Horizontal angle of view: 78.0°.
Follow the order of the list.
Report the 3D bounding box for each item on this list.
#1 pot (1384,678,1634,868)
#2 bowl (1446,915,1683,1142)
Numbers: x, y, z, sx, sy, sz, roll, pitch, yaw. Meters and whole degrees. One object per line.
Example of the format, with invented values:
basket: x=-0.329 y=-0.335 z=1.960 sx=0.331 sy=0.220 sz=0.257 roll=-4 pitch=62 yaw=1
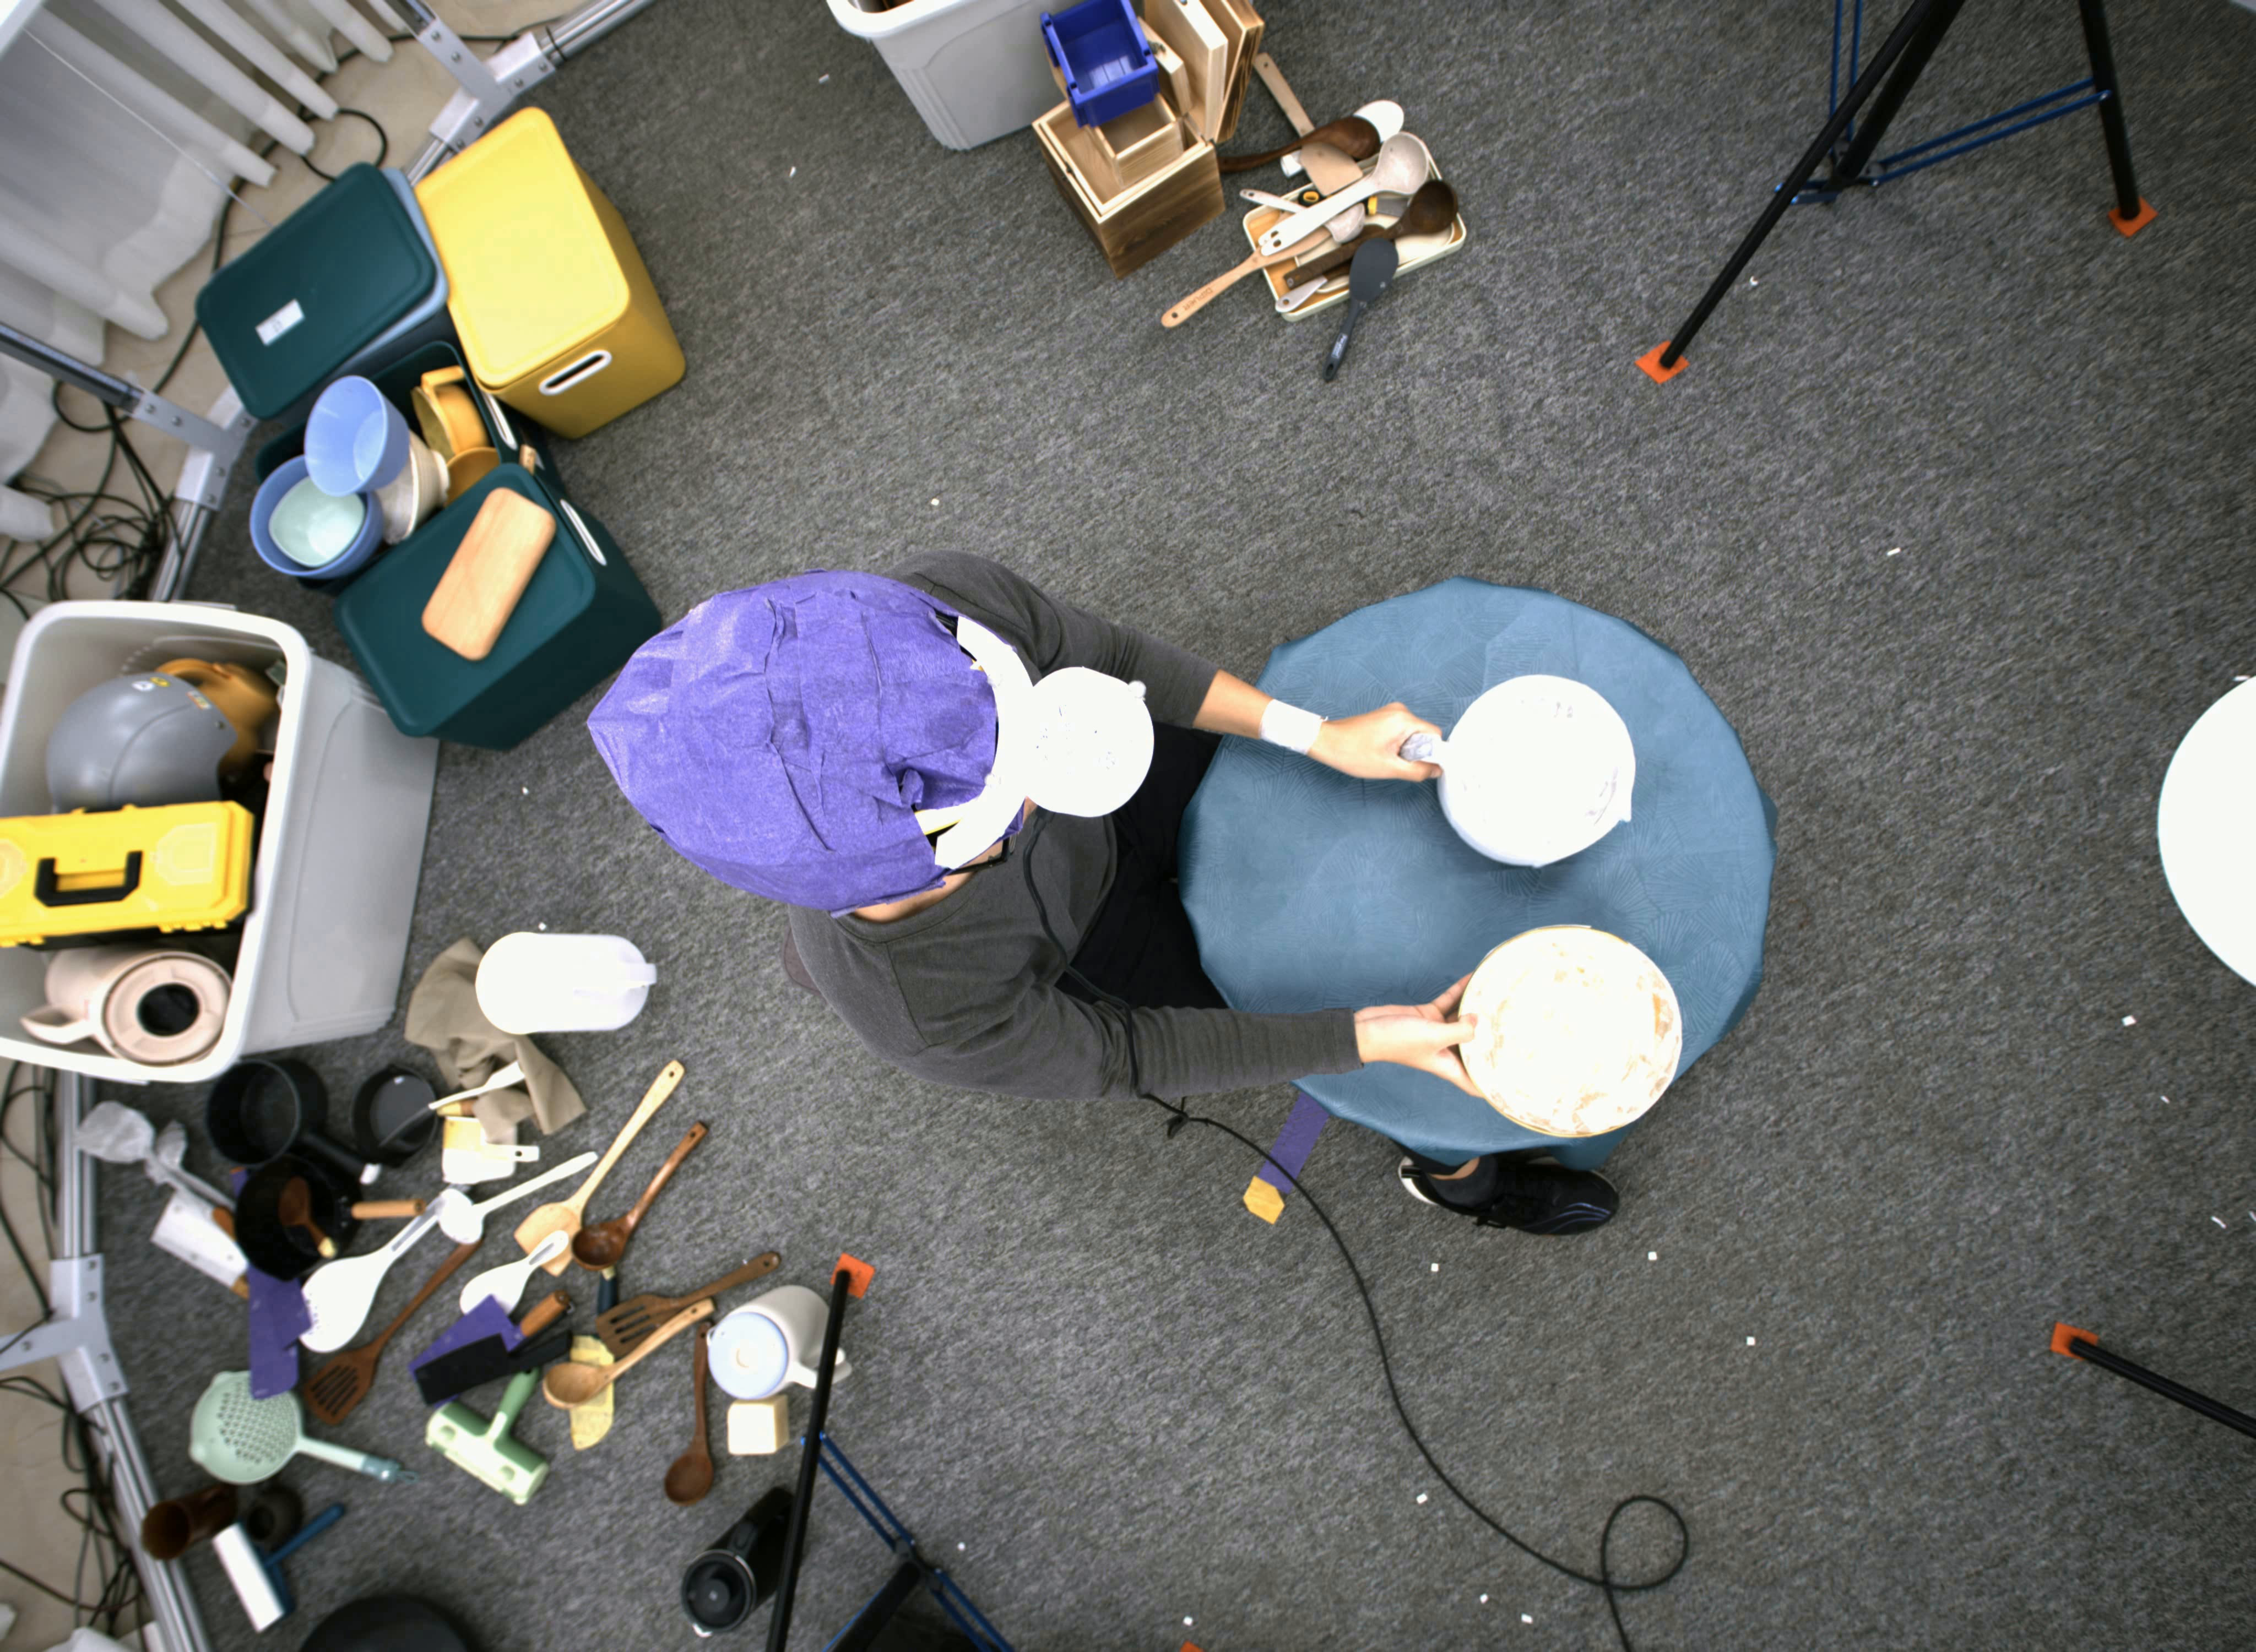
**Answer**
pot: x=0.374 y=-0.056 z=1.375 sx=0.234 sy=0.137 sz=0.178 roll=11 pitch=88 yaw=9
bowl: x=0.415 y=0.183 z=1.317 sx=0.216 sy=0.093 sz=0.216 roll=2 pitch=98 yaw=17
